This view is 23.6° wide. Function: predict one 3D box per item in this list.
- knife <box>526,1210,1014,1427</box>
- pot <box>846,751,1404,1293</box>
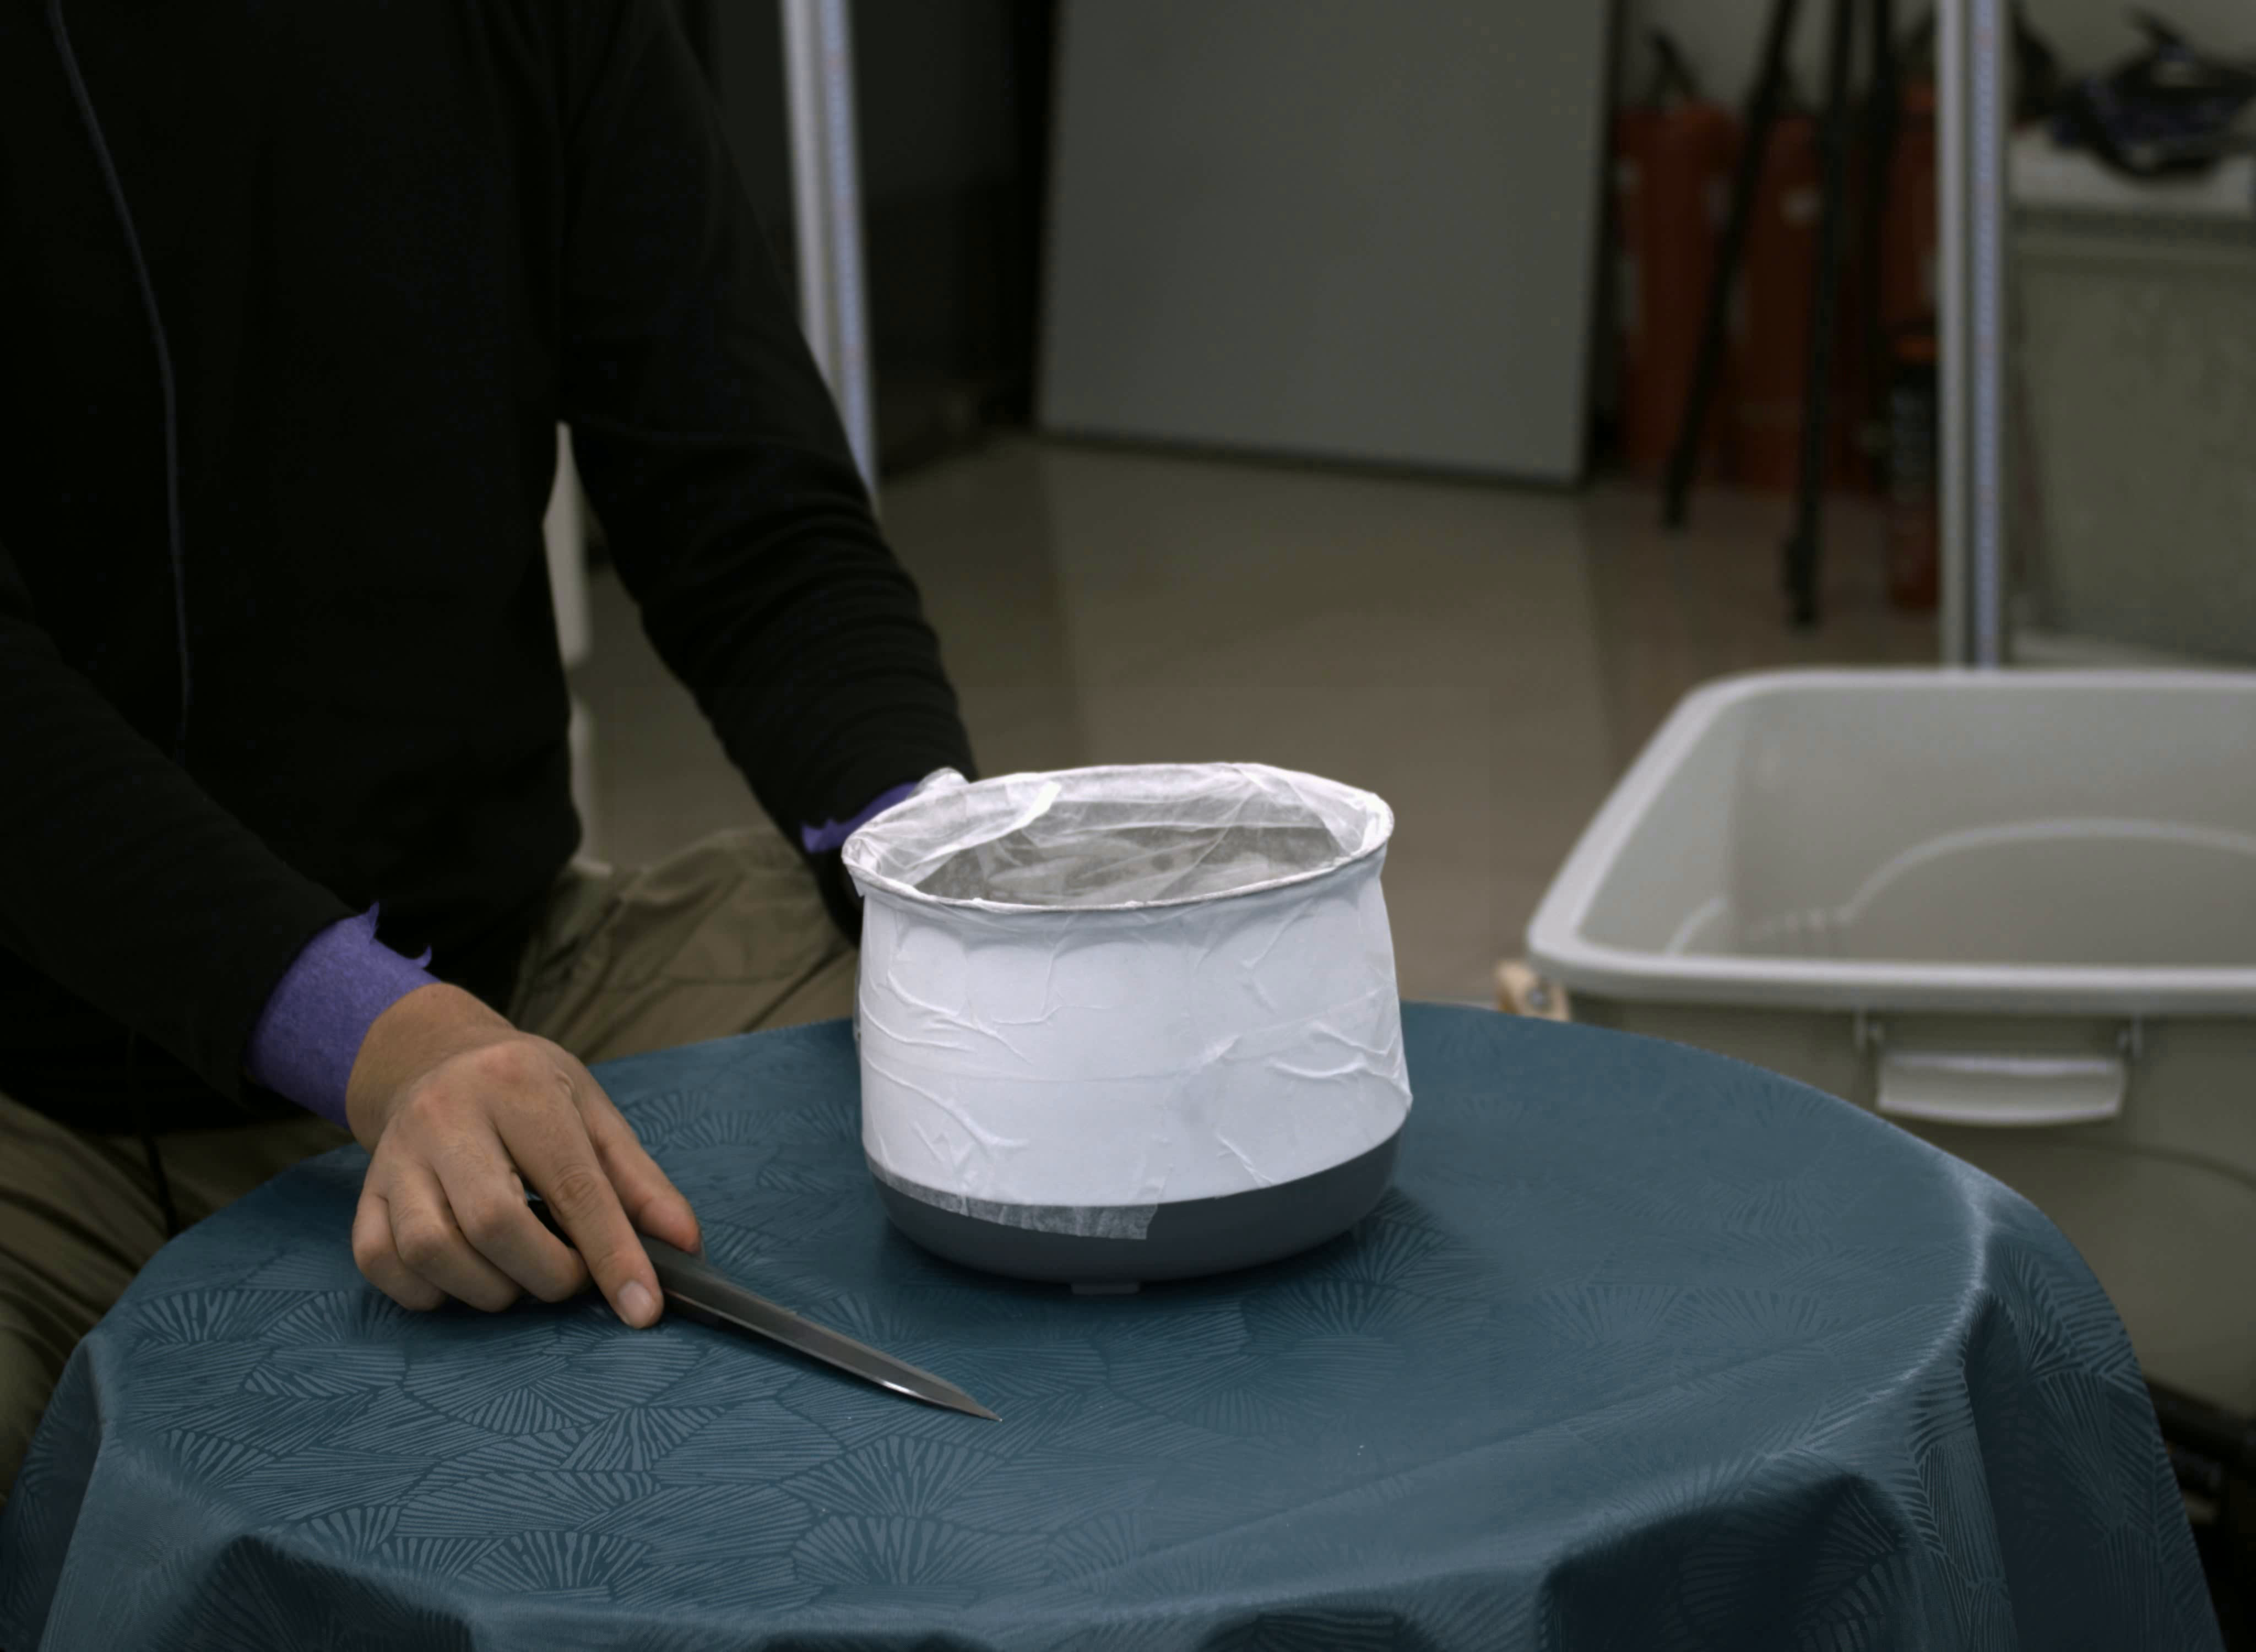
[{"bbox_3d":[-0.114,0.152,1.660,0.024,0.016,0.240,1,10,-42],"label":"knife"},{"bbox_3d":[-0.016,0.056,1.746,0.175,0.138,0.236,-13,17,-34],"label":"pot"}]
